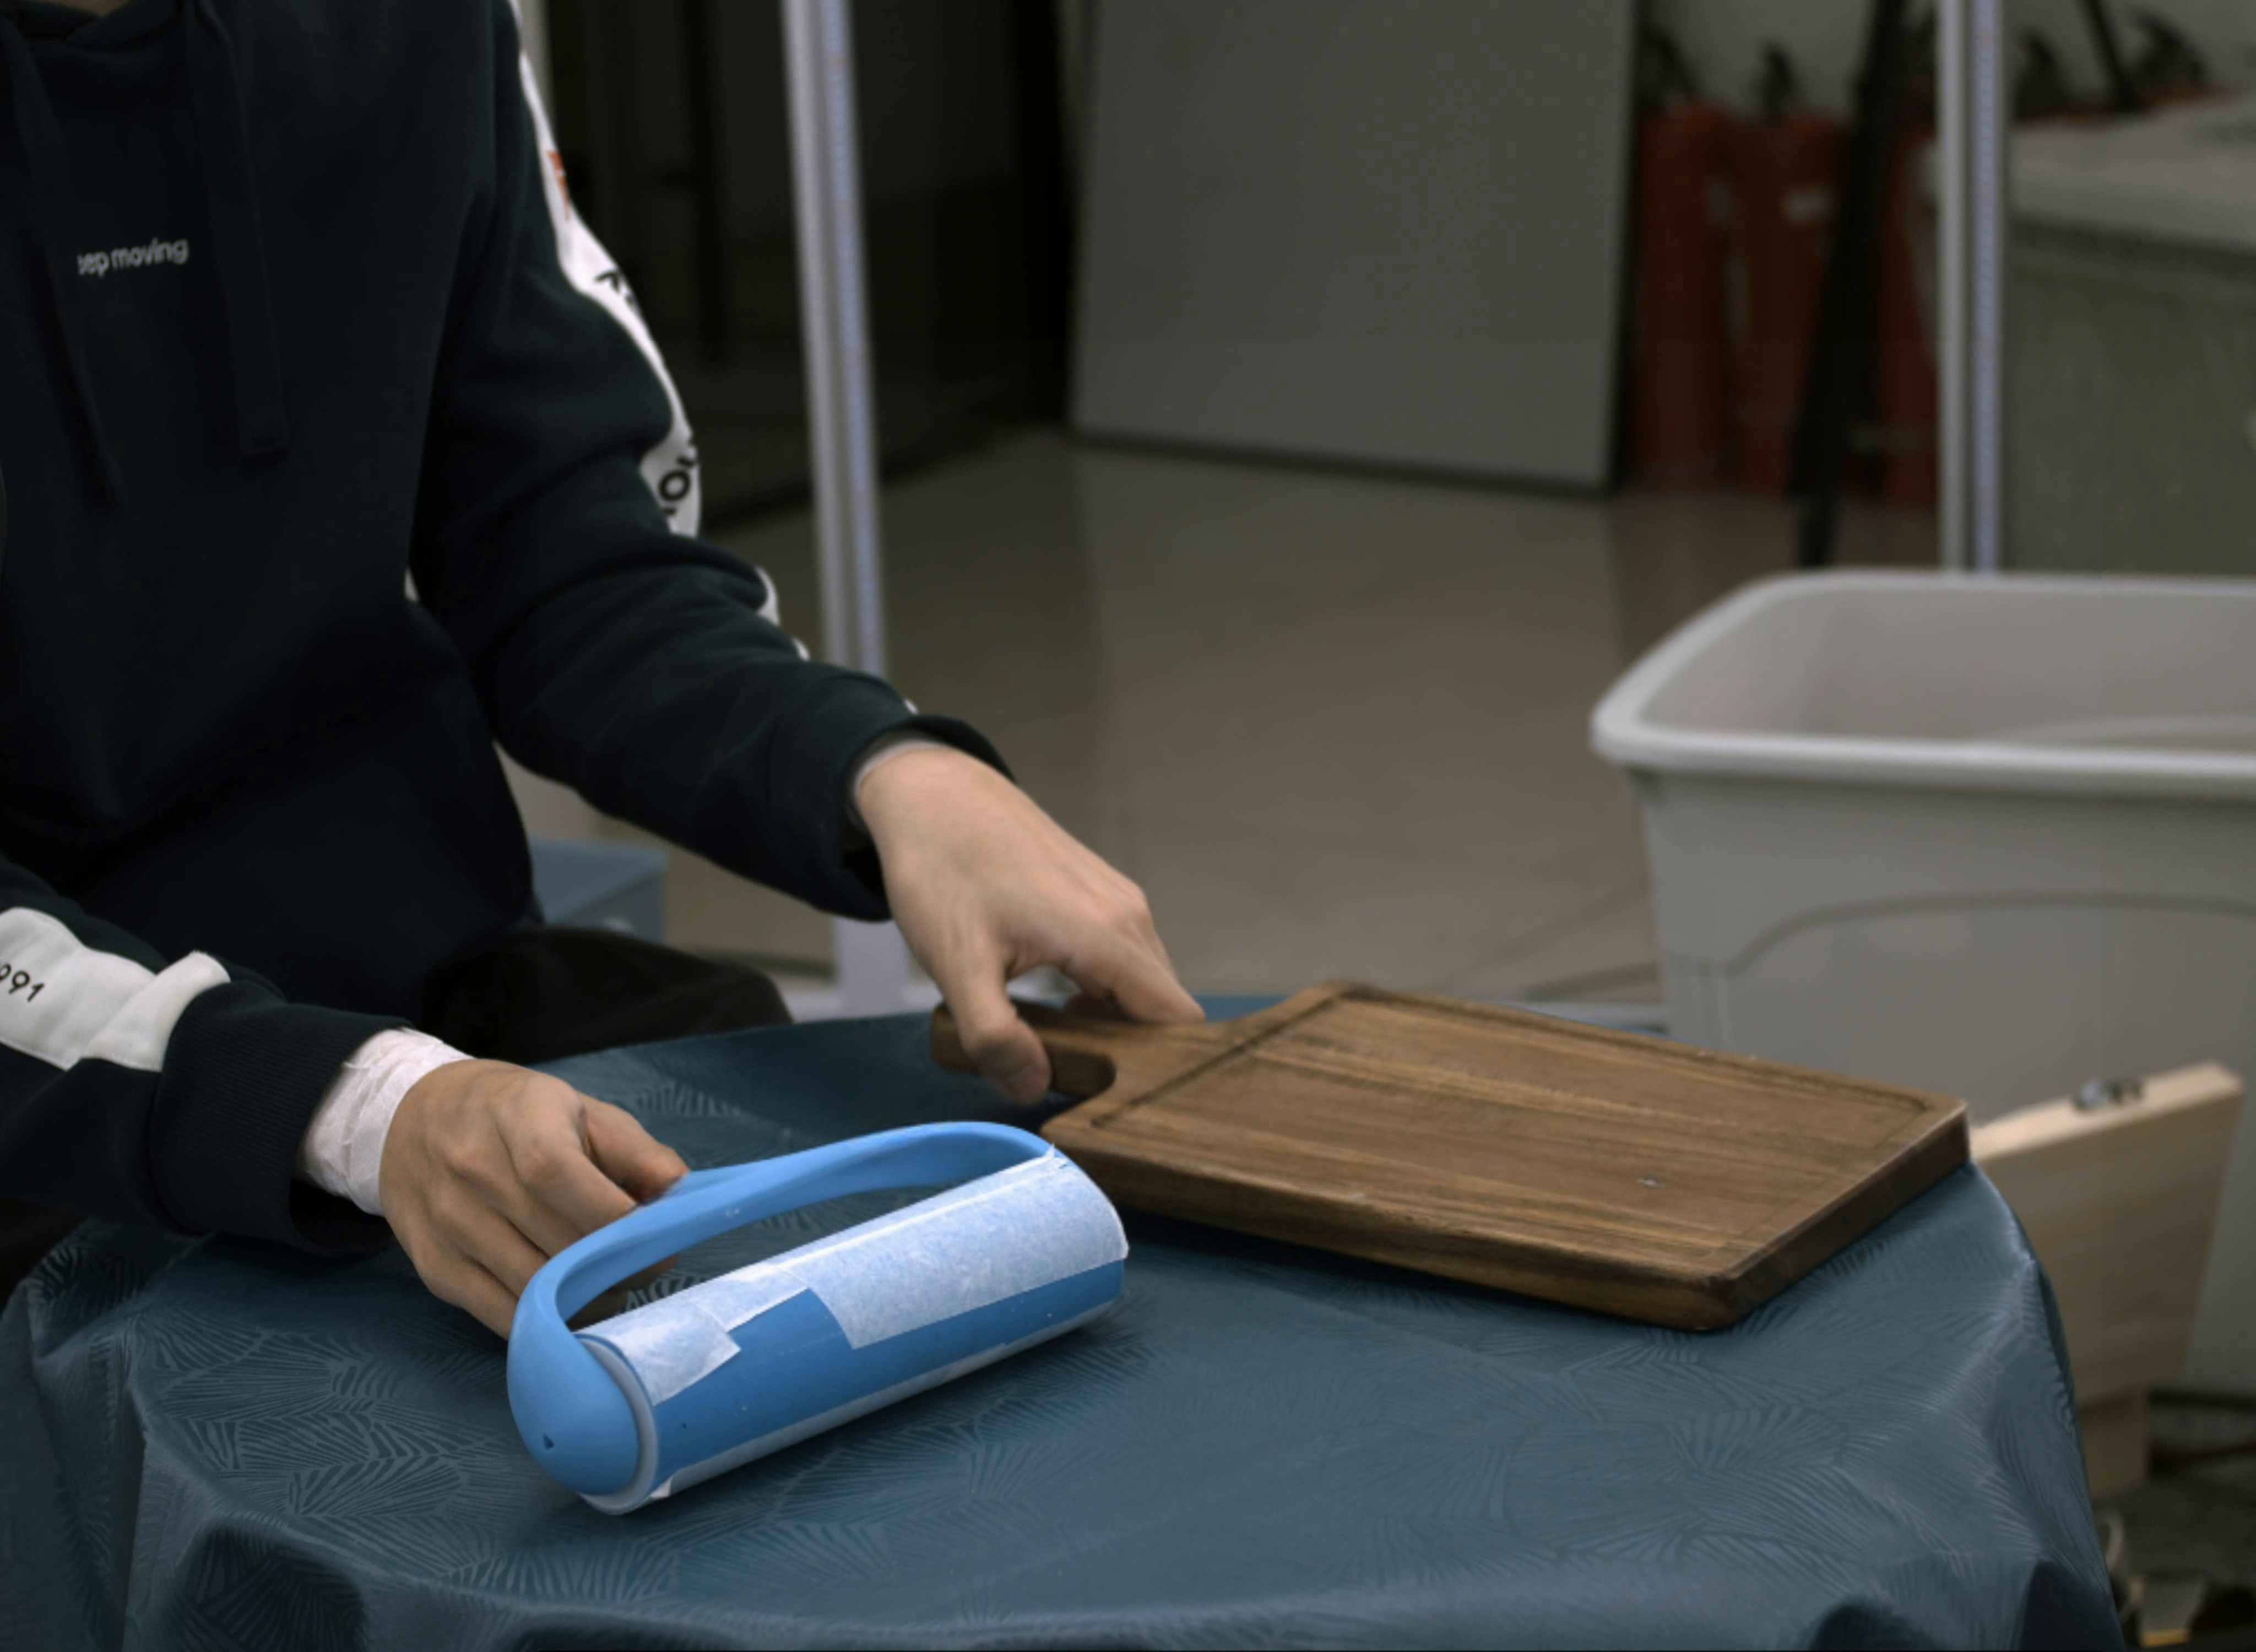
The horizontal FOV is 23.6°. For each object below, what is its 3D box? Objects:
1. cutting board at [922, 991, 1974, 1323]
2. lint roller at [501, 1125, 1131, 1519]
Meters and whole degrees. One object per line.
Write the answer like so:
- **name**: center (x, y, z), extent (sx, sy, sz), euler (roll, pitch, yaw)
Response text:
- **cutting board**: center (0.082, 0.096, 1.763), extent (0.354, 0.023, 0.198), euler (9, 17, 32)
- **lint roller**: center (-0.127, 0.138, 1.617), extent (0.182, 0.068, 0.224), euler (10, 21, 40)
